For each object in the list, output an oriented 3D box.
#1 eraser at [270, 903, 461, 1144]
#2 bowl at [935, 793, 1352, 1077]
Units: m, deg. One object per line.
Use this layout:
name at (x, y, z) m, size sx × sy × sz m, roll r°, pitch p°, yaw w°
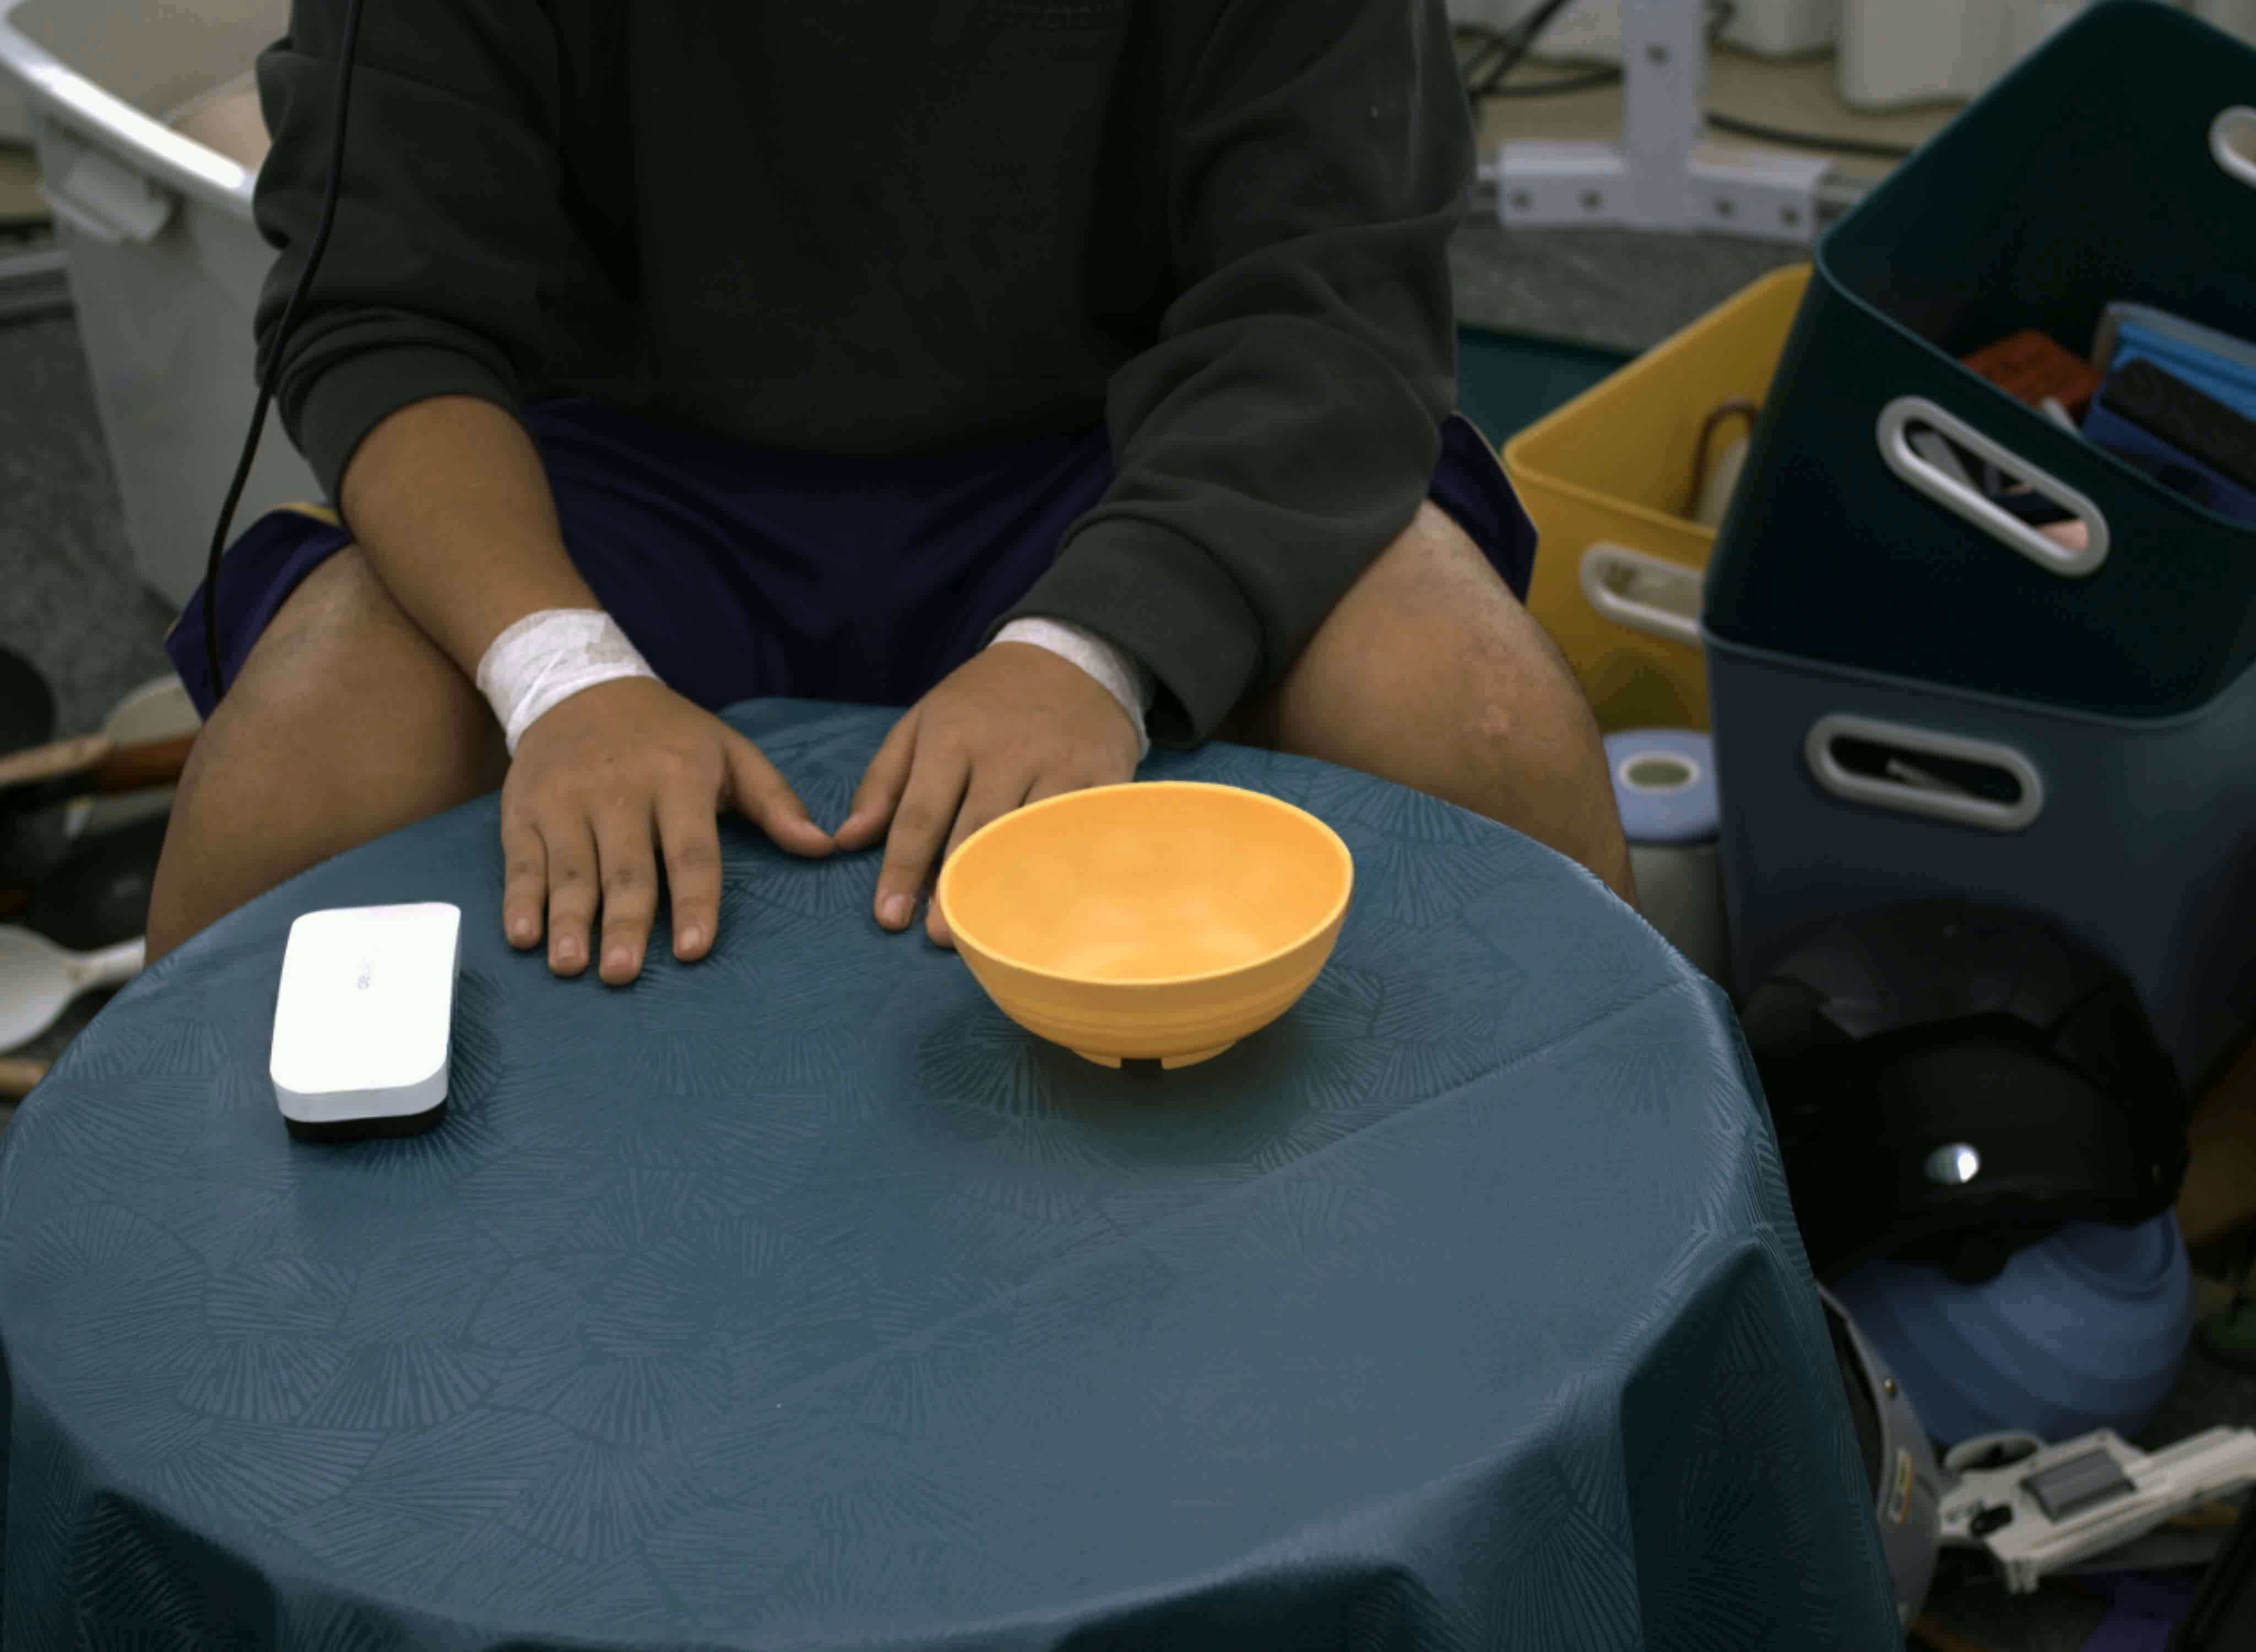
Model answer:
eraser at (-0.264, 0.065, 1.963) m, size 0.063 × 0.034 × 0.133 m, roll -3°, pitch 28°, yaw -1°
bowl at (0.006, 0.046, 1.949) m, size 0.144 × 0.059 × 0.147 m, roll -1°, pitch 25°, yaw 1°
